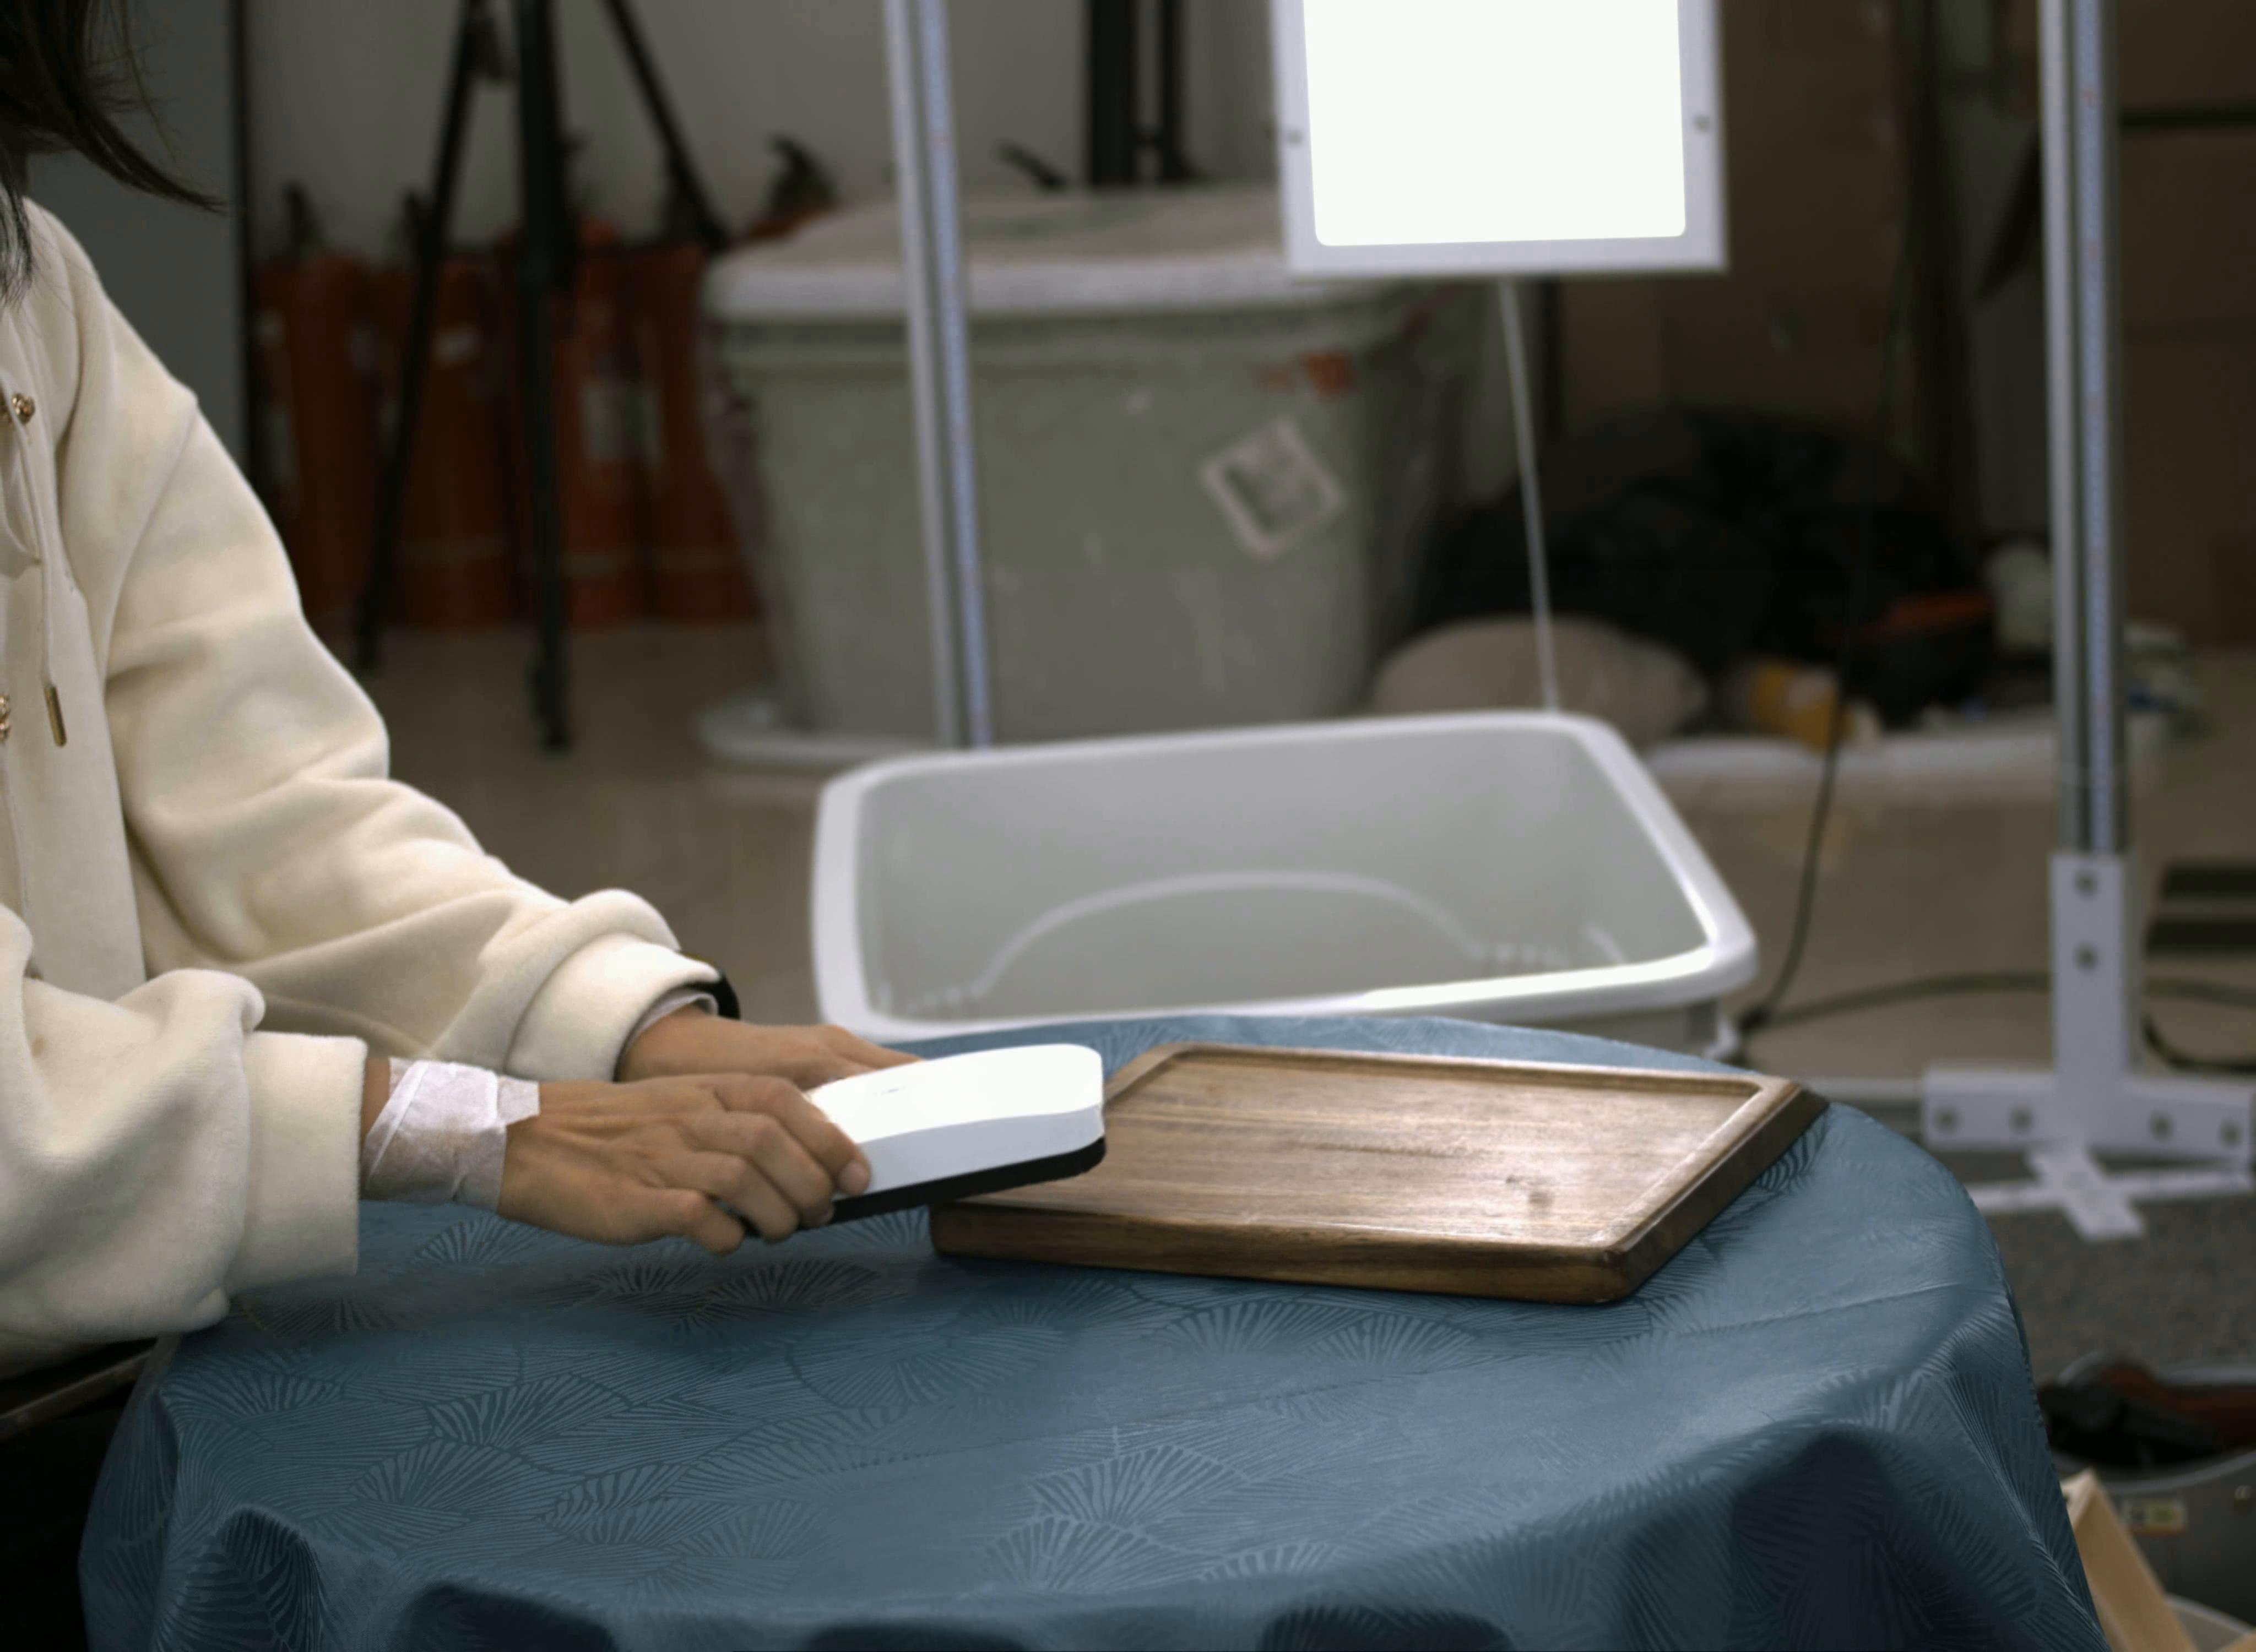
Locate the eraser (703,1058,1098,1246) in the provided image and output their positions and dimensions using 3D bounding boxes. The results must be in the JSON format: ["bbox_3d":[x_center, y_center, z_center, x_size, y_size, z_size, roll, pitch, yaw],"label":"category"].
[{"bbox_3d":[-0.074,0.104,1.819,0.132,0.034,0.063,-11,18,8],"label":"eraser"}]

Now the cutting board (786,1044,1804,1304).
[{"bbox_3d":[0.040,0.113,1.894,0.358,0.023,0.197,2,15,27],"label":"cutting board"}]
